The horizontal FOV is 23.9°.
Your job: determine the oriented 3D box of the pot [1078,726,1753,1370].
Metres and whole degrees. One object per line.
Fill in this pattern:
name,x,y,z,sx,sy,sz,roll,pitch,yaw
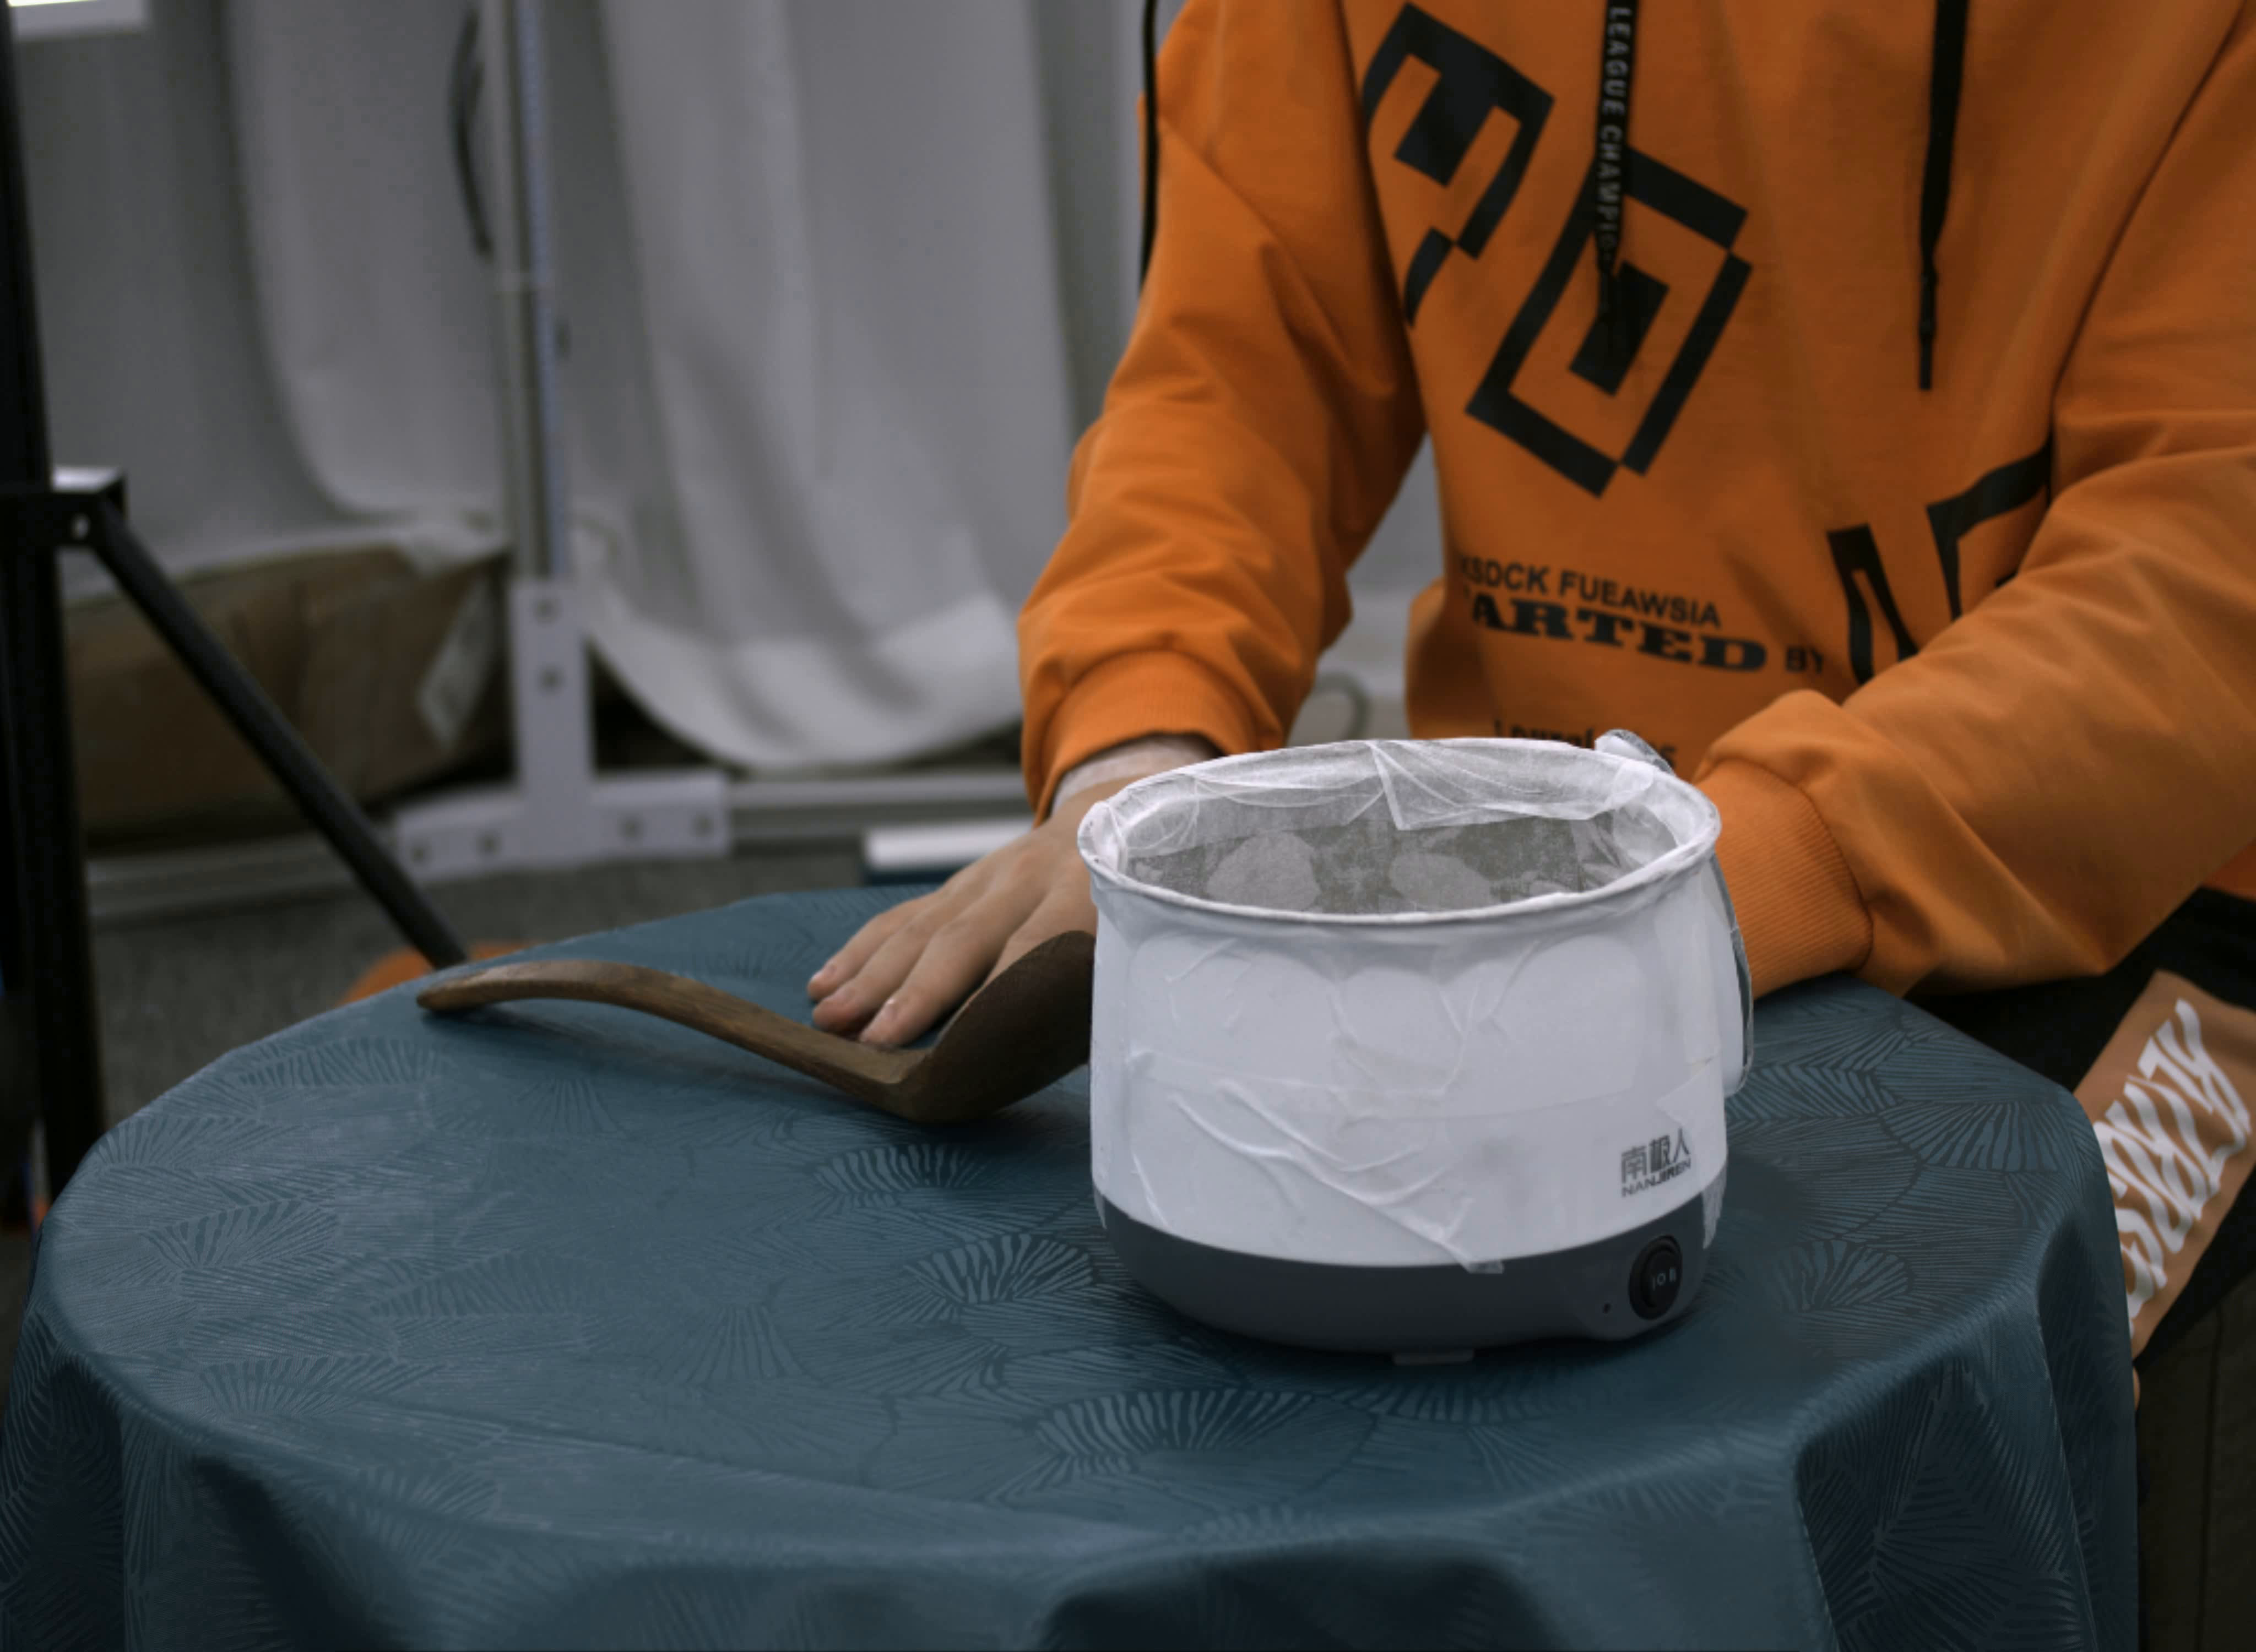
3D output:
pot,0.095,0.054,1.481,0.183,0.136,0.228,12,21,41

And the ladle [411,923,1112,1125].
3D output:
ladle,-0.122,0.045,1.674,0.280,0.071,0.074,11,18,38
